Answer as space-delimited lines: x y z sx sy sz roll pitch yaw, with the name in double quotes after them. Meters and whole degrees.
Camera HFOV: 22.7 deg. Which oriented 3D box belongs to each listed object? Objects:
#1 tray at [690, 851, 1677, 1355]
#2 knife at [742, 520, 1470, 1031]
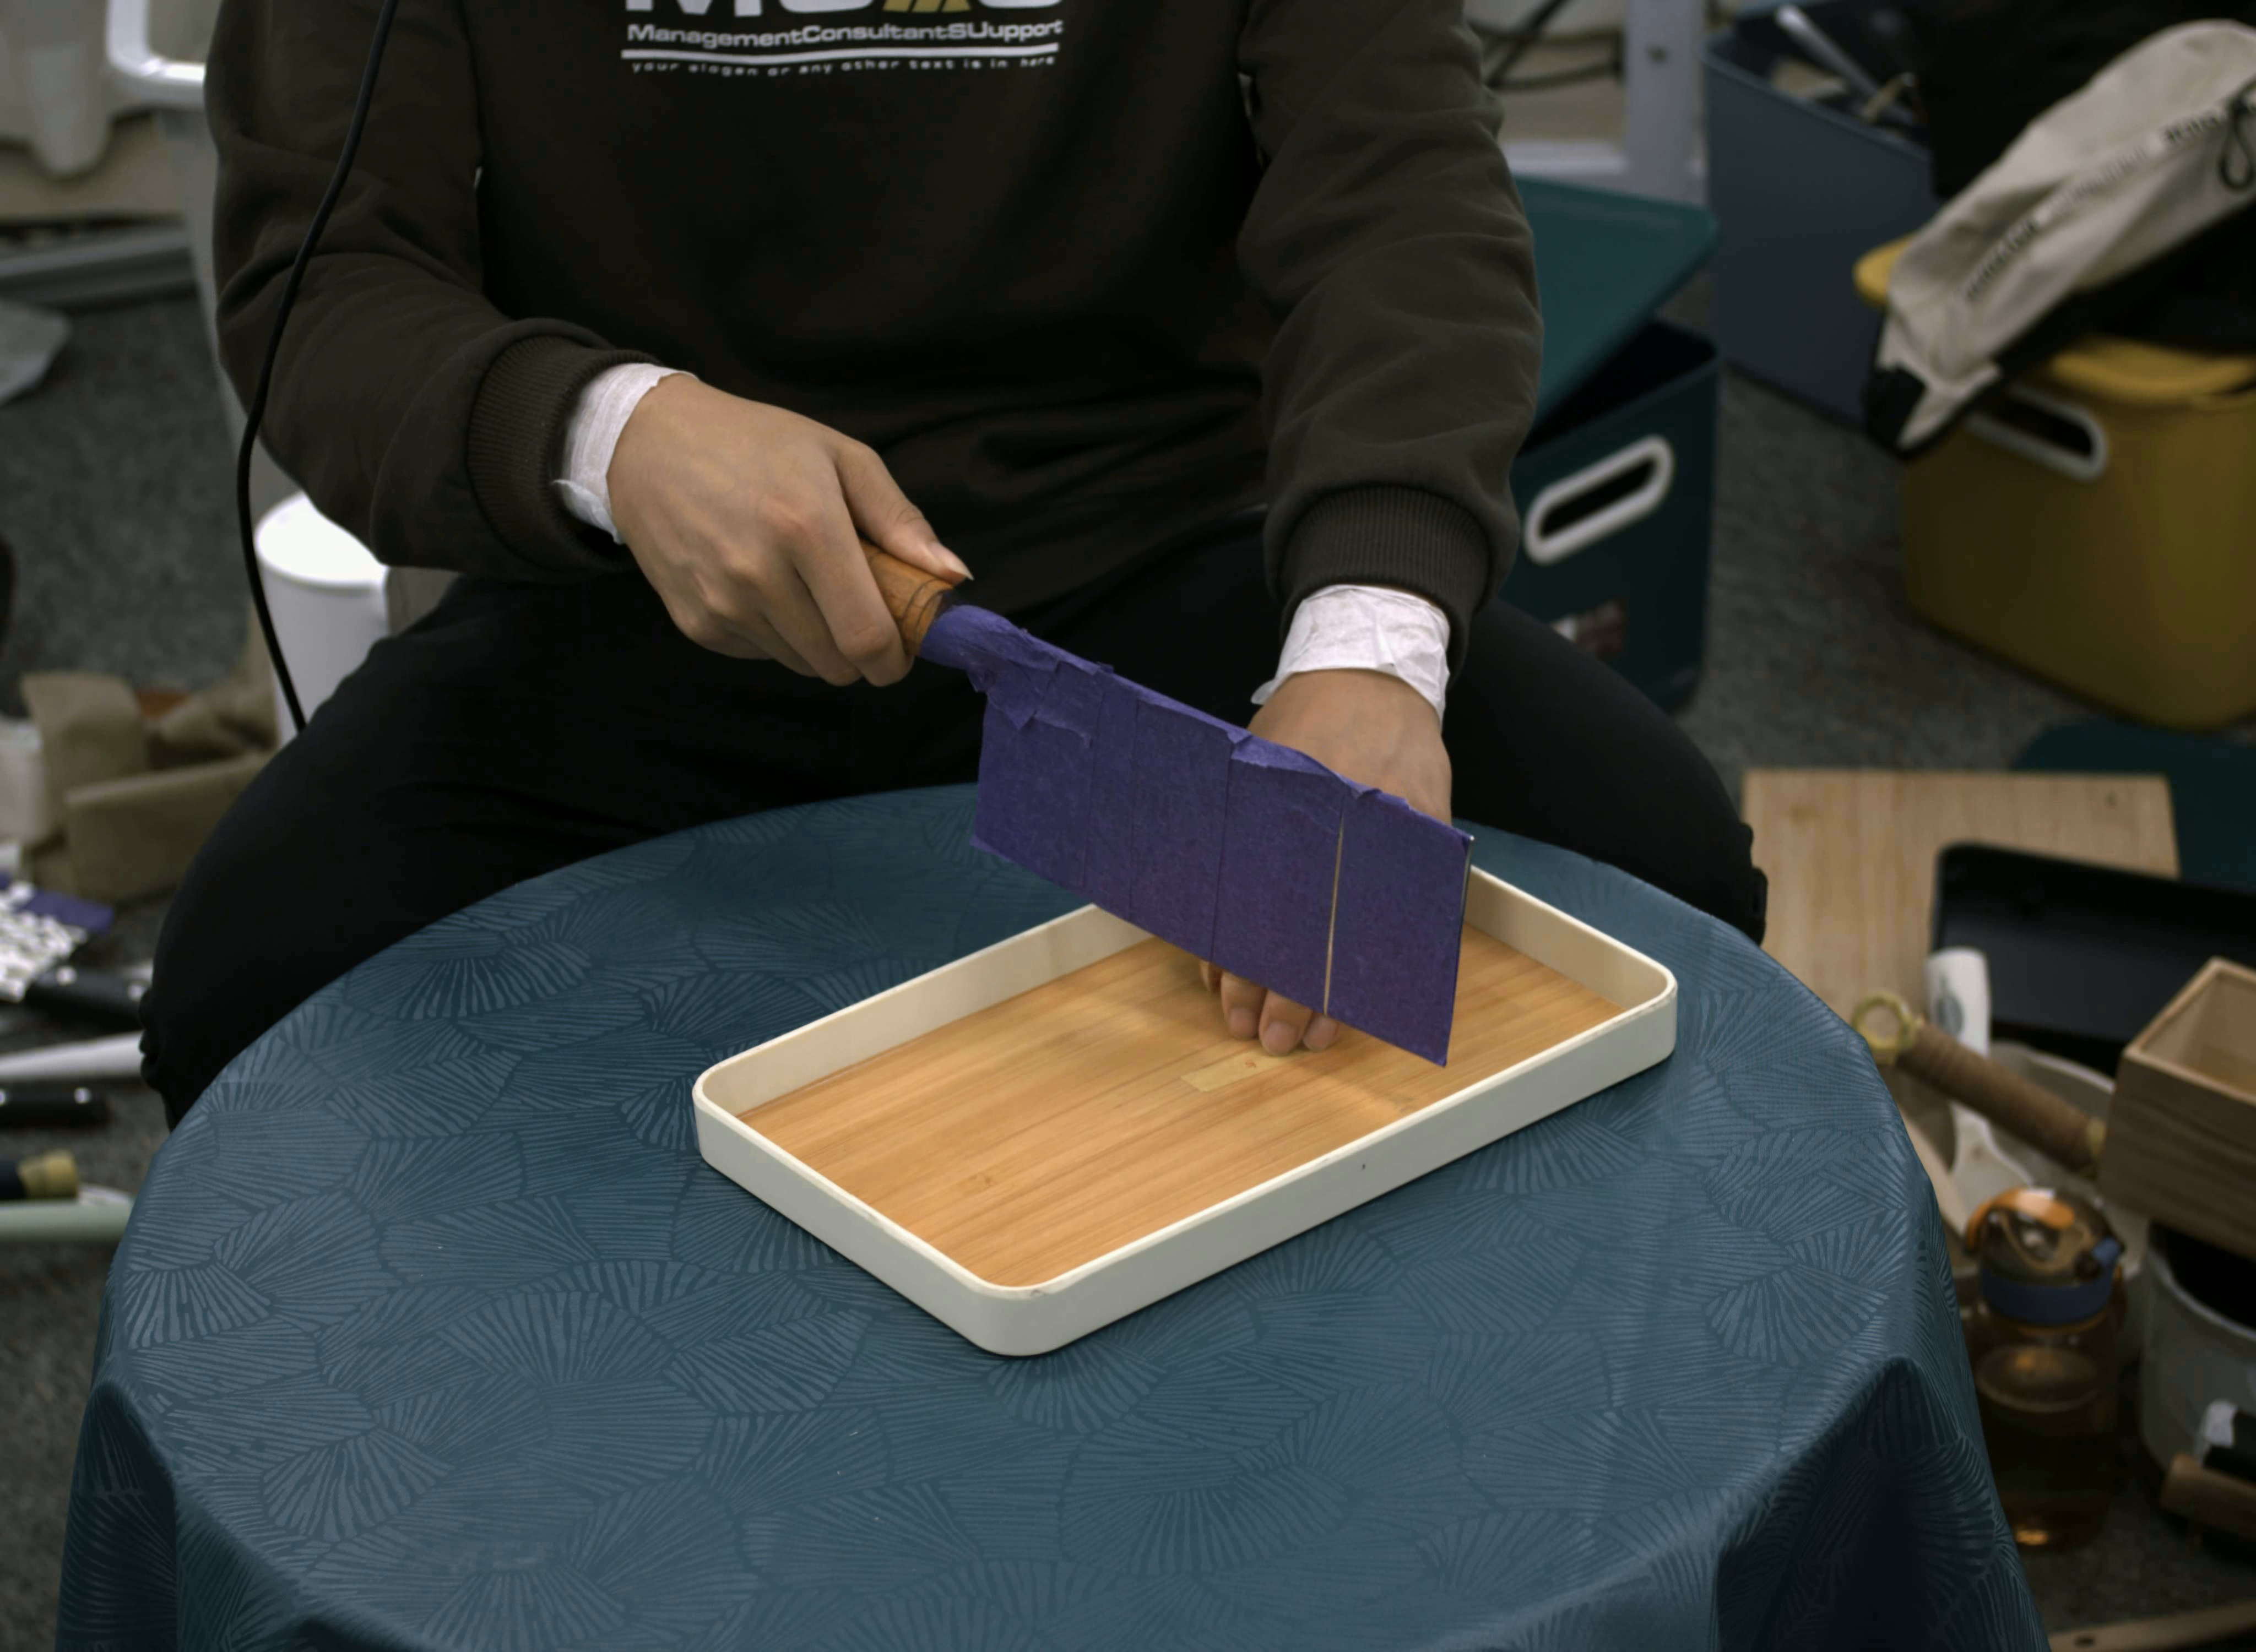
0.020 0.080 1.909 0.303 0.027 0.192 -22 34 -33 "tray"
-0.013 -0.015 1.931 0.315 0.103 0.032 25 30 34 "knife"
